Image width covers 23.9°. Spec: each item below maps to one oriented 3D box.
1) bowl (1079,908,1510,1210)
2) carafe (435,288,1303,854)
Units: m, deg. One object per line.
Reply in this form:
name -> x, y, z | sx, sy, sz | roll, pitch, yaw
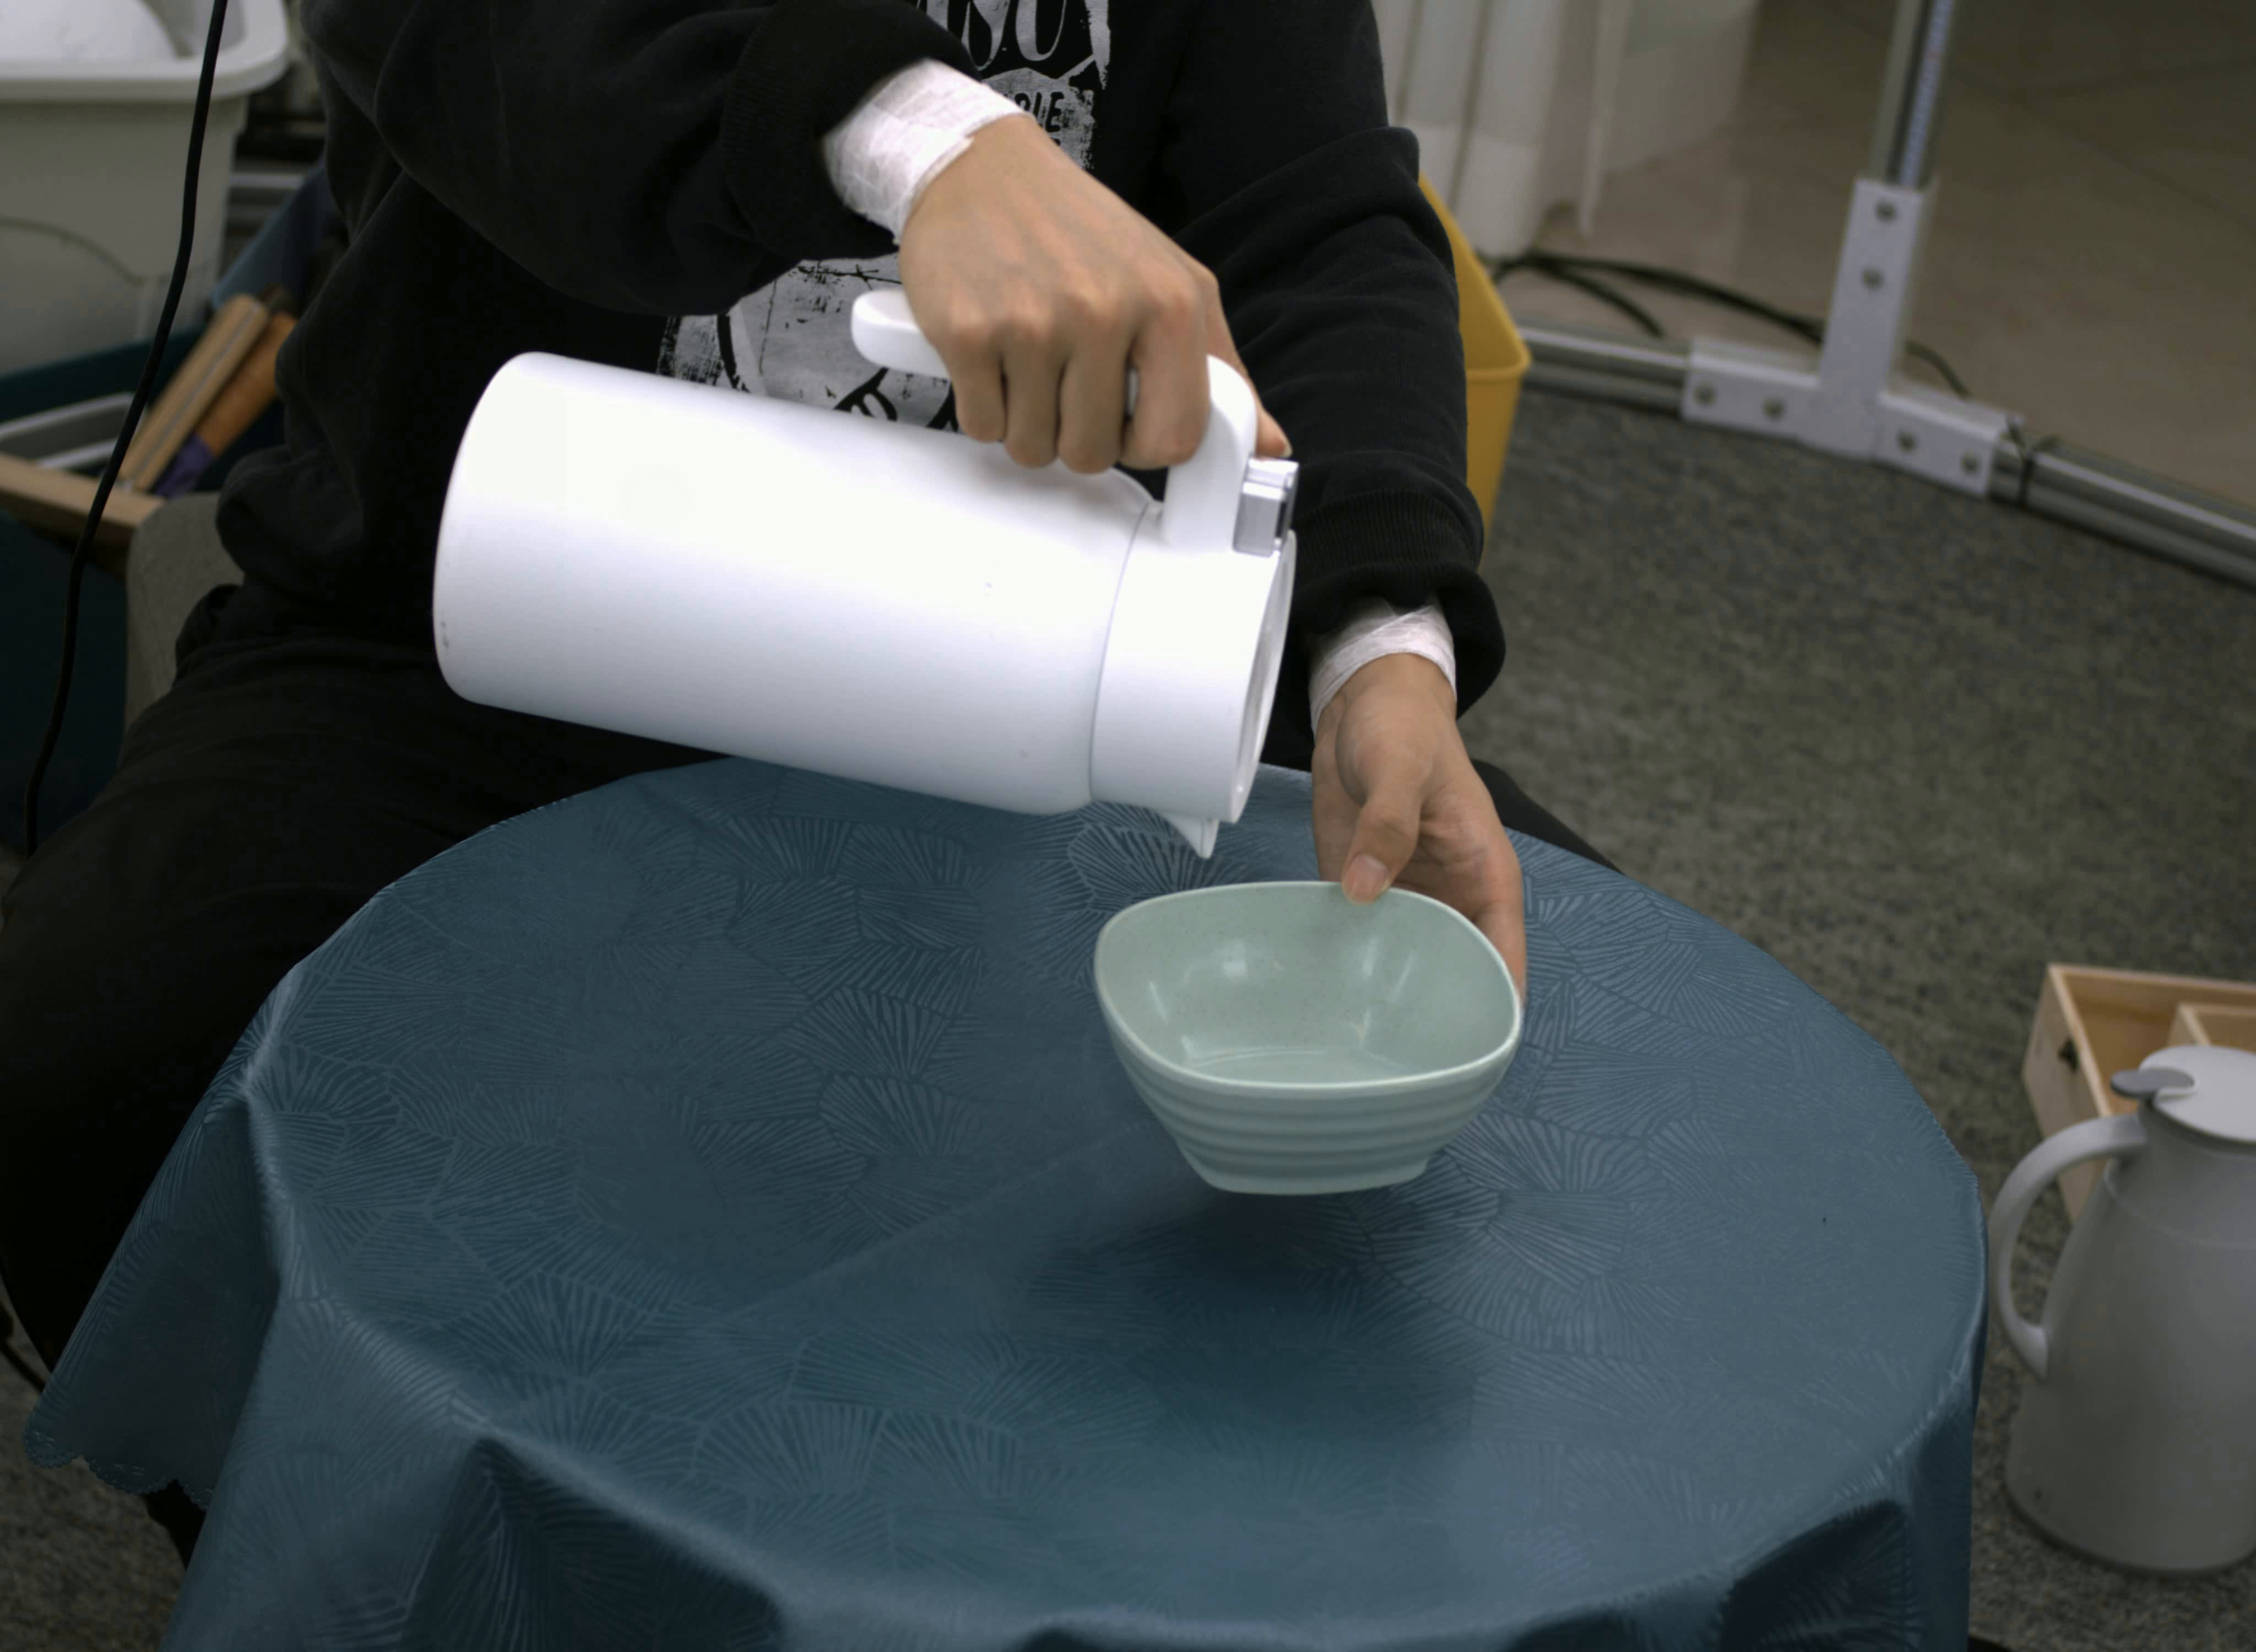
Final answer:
bowl -> 0.054, 0.082, 1.761 | 0.151, 0.058, 0.152 | 1, 23, -1
carafe -> -0.083, -0.089, 1.723 | 0.269, 0.172, 0.124 | 12, 29, 9
